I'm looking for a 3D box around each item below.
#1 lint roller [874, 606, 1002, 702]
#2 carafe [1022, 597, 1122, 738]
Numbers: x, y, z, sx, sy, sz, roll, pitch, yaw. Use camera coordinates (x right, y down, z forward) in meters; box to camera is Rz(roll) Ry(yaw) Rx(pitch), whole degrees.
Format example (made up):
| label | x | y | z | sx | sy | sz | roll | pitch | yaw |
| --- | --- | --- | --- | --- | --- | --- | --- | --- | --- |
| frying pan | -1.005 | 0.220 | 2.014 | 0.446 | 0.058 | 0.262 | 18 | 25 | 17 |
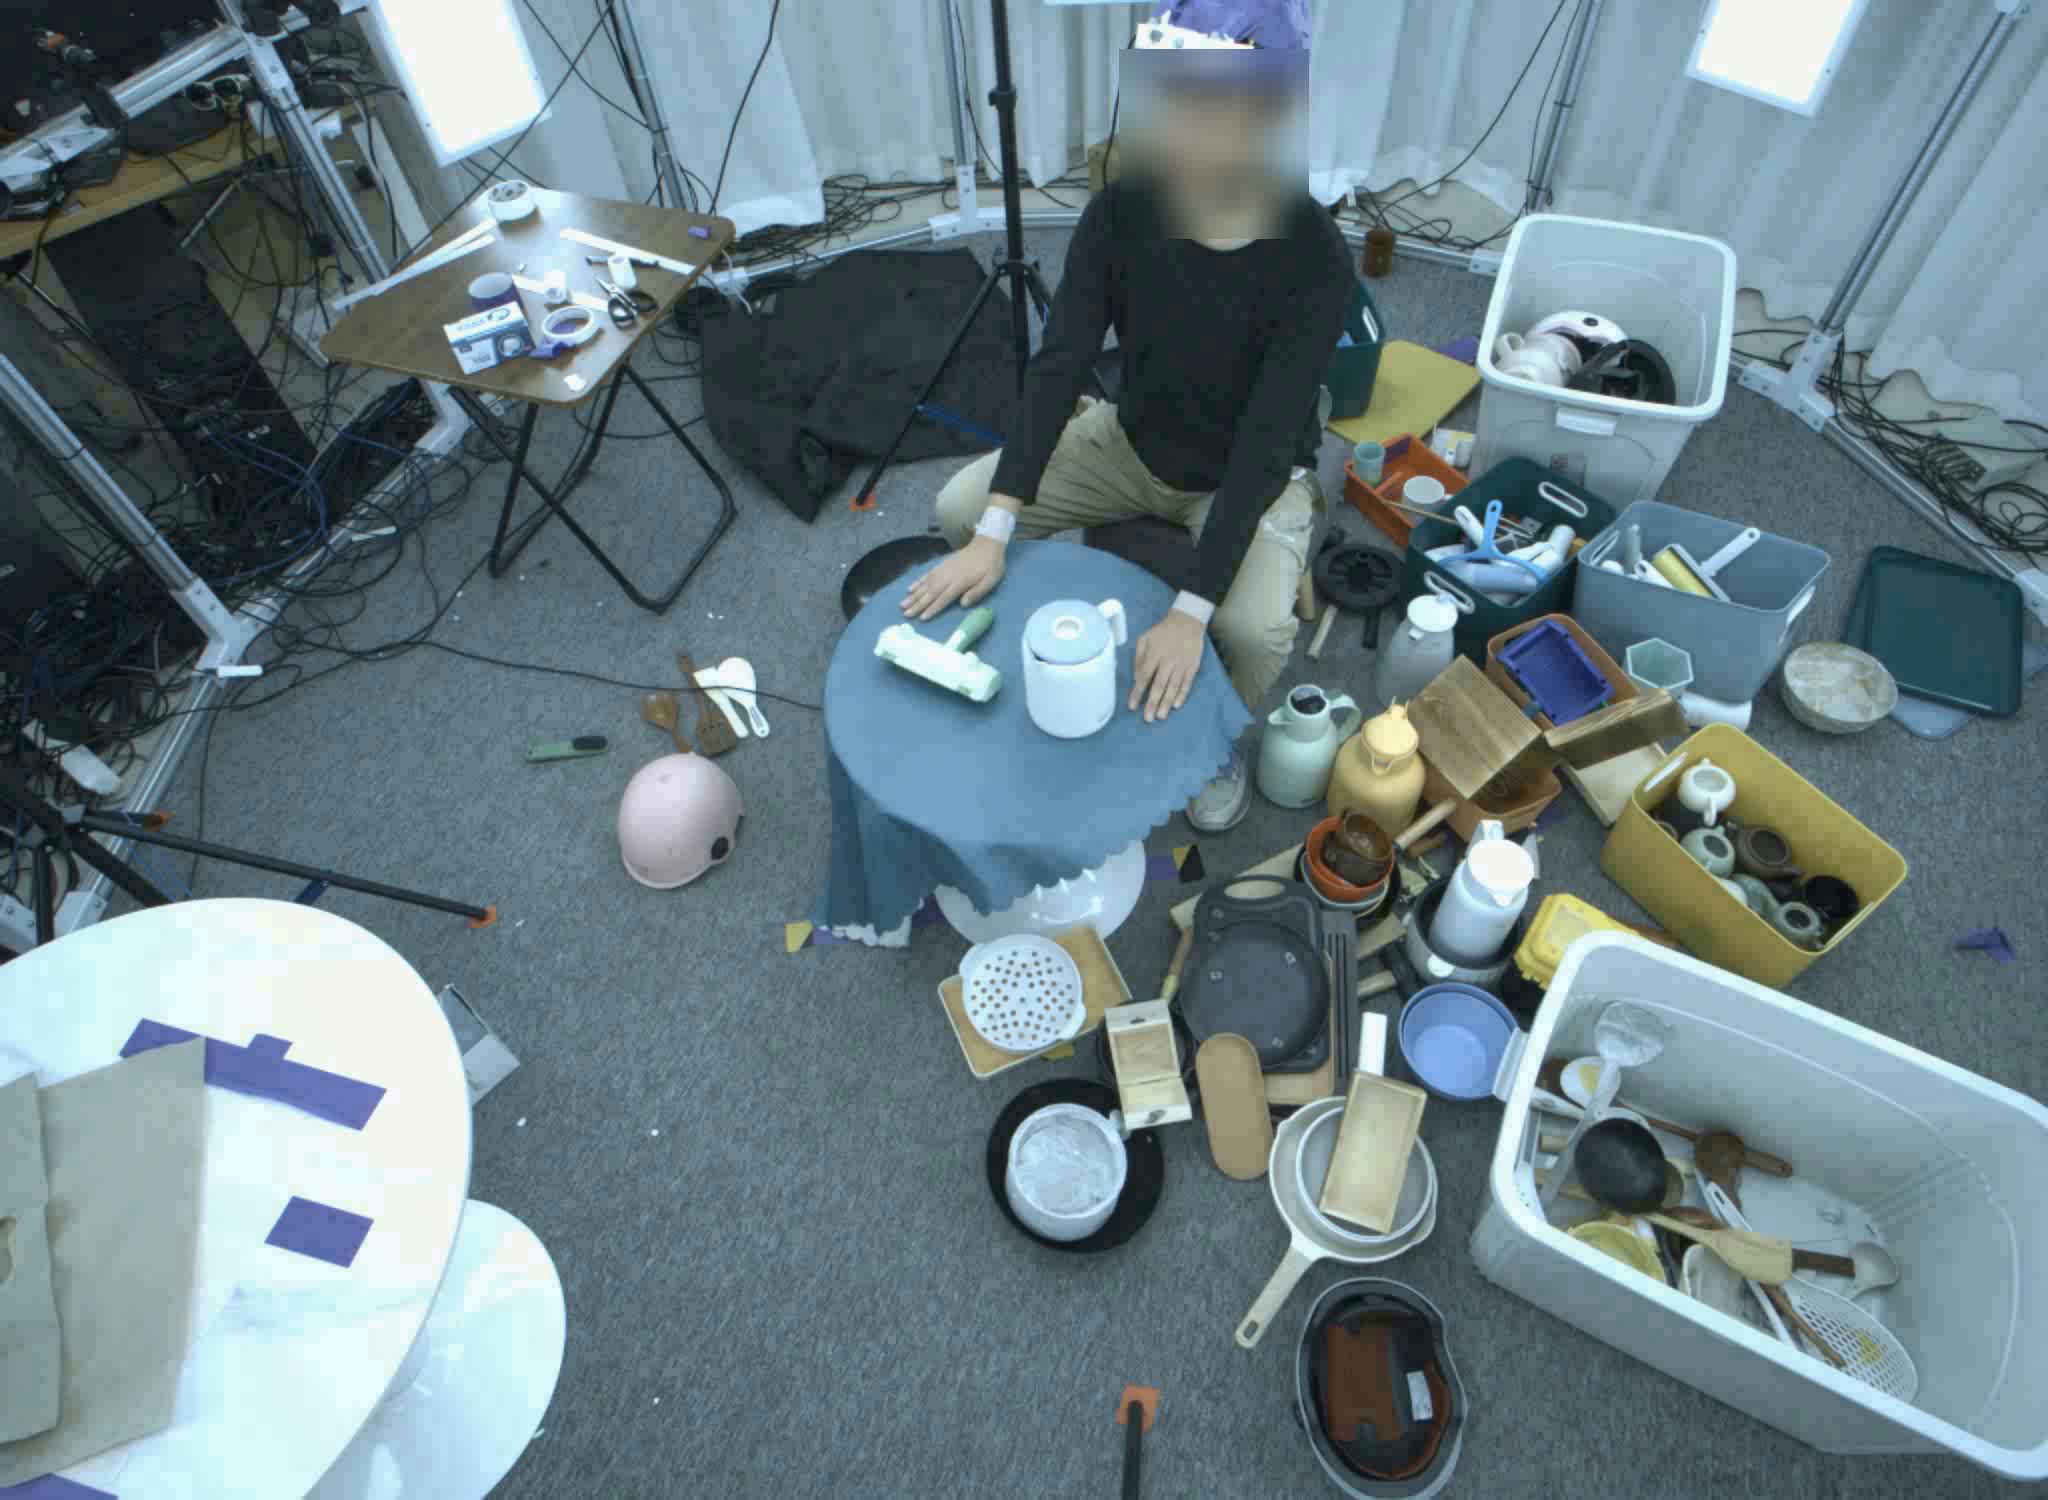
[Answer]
| label | x | y | z | sx | sy | sz | roll | pitch | yaw |
| --- | --- | --- | --- | --- | --- | --- | --- | --- | --- |
| lint roller | -0.101 | -0.174 | 1.867 | 0.196 | 0.083 | 0.184 | 25 | 62 | 17 |
| carafe | 0.081 | -0.131 | 1.772 | 0.130 | 0.184 | 0.192 | 34 | 61 | 23 |
